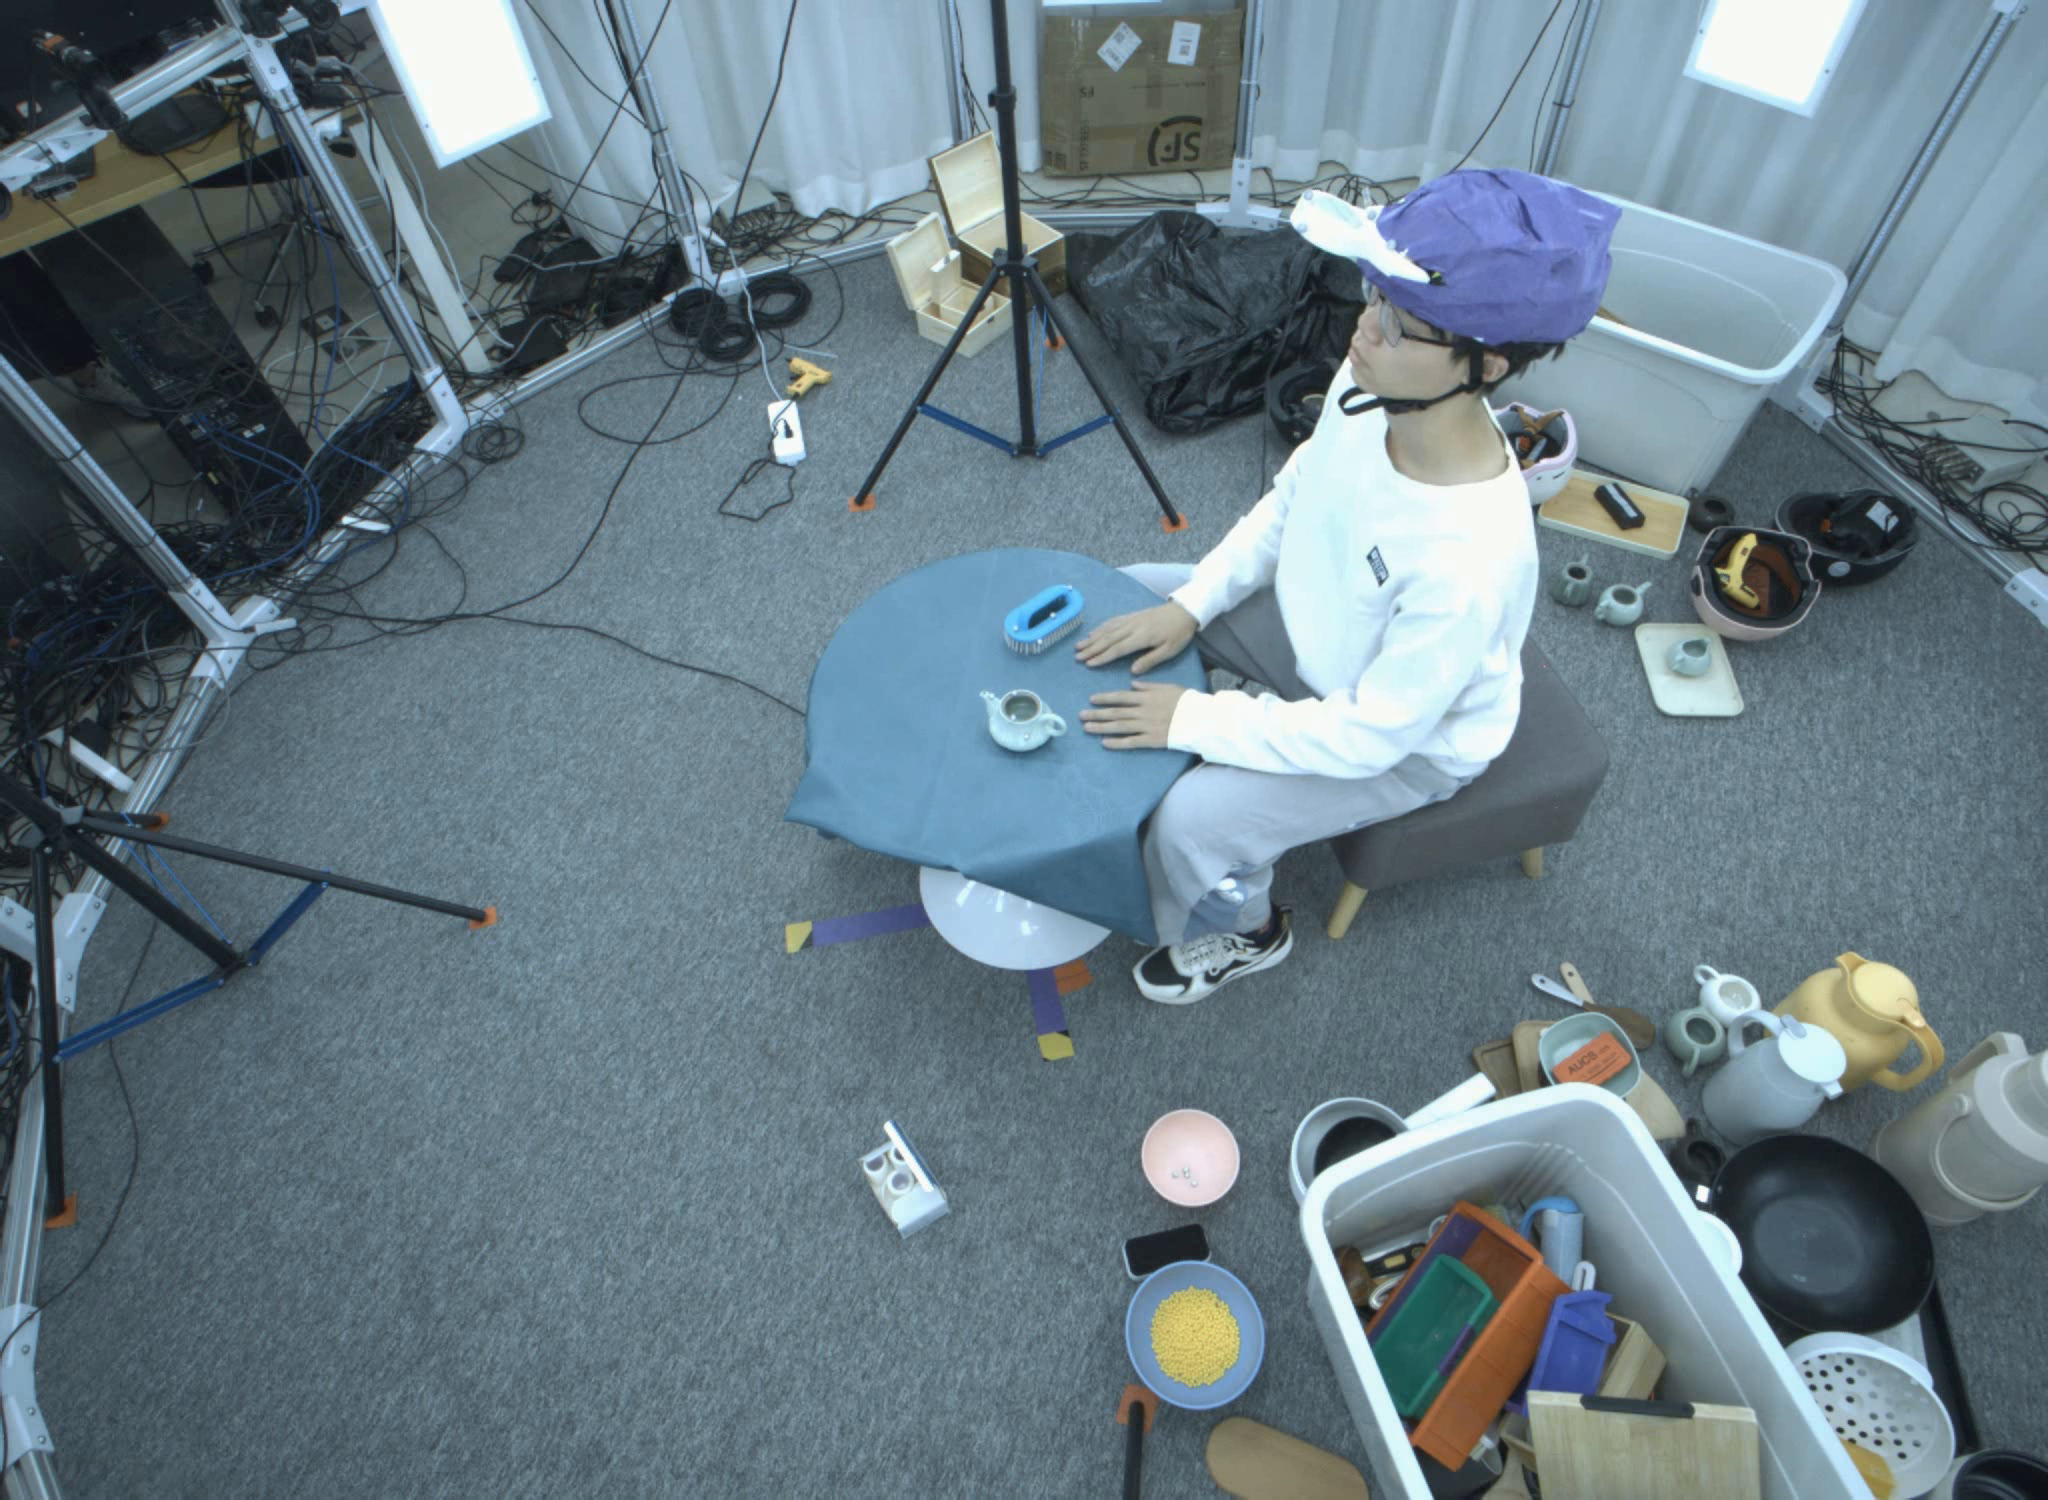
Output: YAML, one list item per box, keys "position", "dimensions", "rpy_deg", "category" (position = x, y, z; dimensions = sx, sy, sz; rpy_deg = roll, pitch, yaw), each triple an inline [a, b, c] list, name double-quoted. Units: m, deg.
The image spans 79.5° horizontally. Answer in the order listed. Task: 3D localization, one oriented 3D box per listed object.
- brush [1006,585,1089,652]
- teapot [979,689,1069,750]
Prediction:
- position: [0.032, -0.215, 1.898]
  dimensions: [0.143, 0.064, 0.082]
  rpy_deg: [-33, 55, -21]
  category: "brush"
- position: [0.000, -0.047, 1.781]
  dimensions: [0.135, 0.062, 0.096]
  rpy_deg: [17, 54, 14]
  category: "teapot"
